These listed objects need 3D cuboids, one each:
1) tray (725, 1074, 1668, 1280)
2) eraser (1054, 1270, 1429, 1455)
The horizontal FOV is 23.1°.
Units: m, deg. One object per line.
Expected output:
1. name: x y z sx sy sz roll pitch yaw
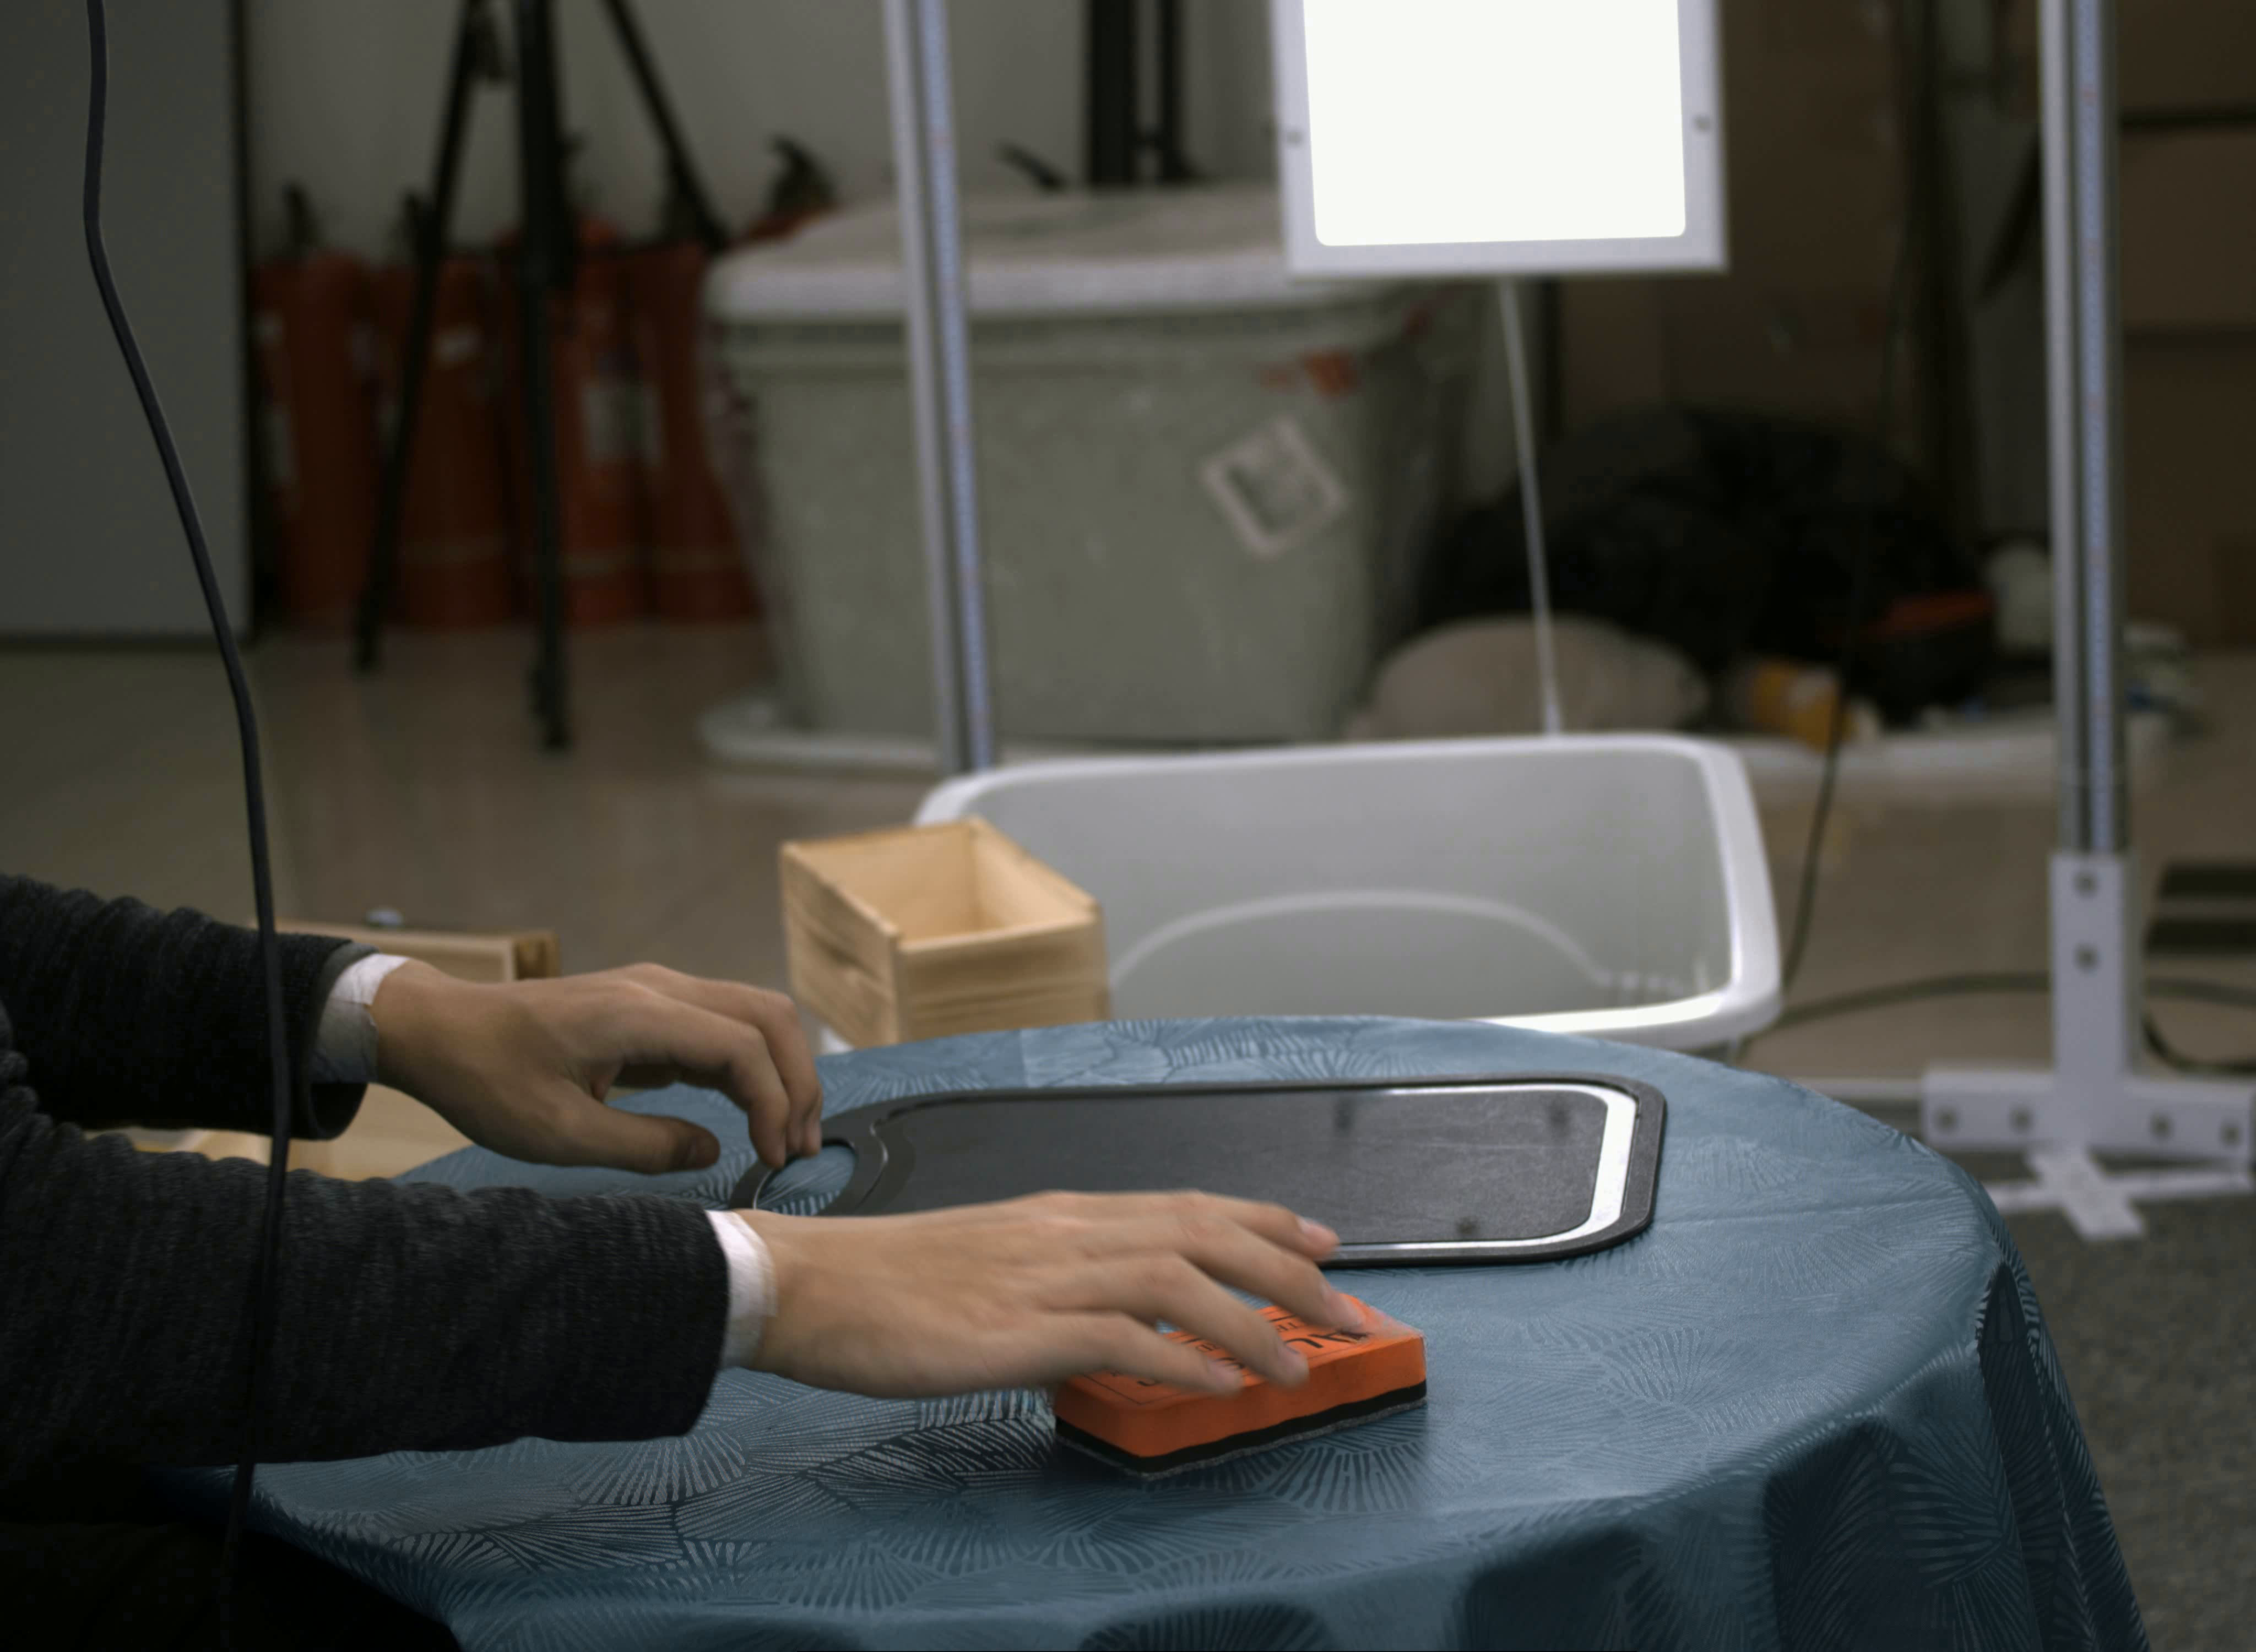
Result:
1. tray: 0.022 0.119 1.907 0.327 0.010 0.209 -3 14 11
2. eraser: 0.035 0.161 1.663 0.105 0.023 0.060 -13 15 -28
